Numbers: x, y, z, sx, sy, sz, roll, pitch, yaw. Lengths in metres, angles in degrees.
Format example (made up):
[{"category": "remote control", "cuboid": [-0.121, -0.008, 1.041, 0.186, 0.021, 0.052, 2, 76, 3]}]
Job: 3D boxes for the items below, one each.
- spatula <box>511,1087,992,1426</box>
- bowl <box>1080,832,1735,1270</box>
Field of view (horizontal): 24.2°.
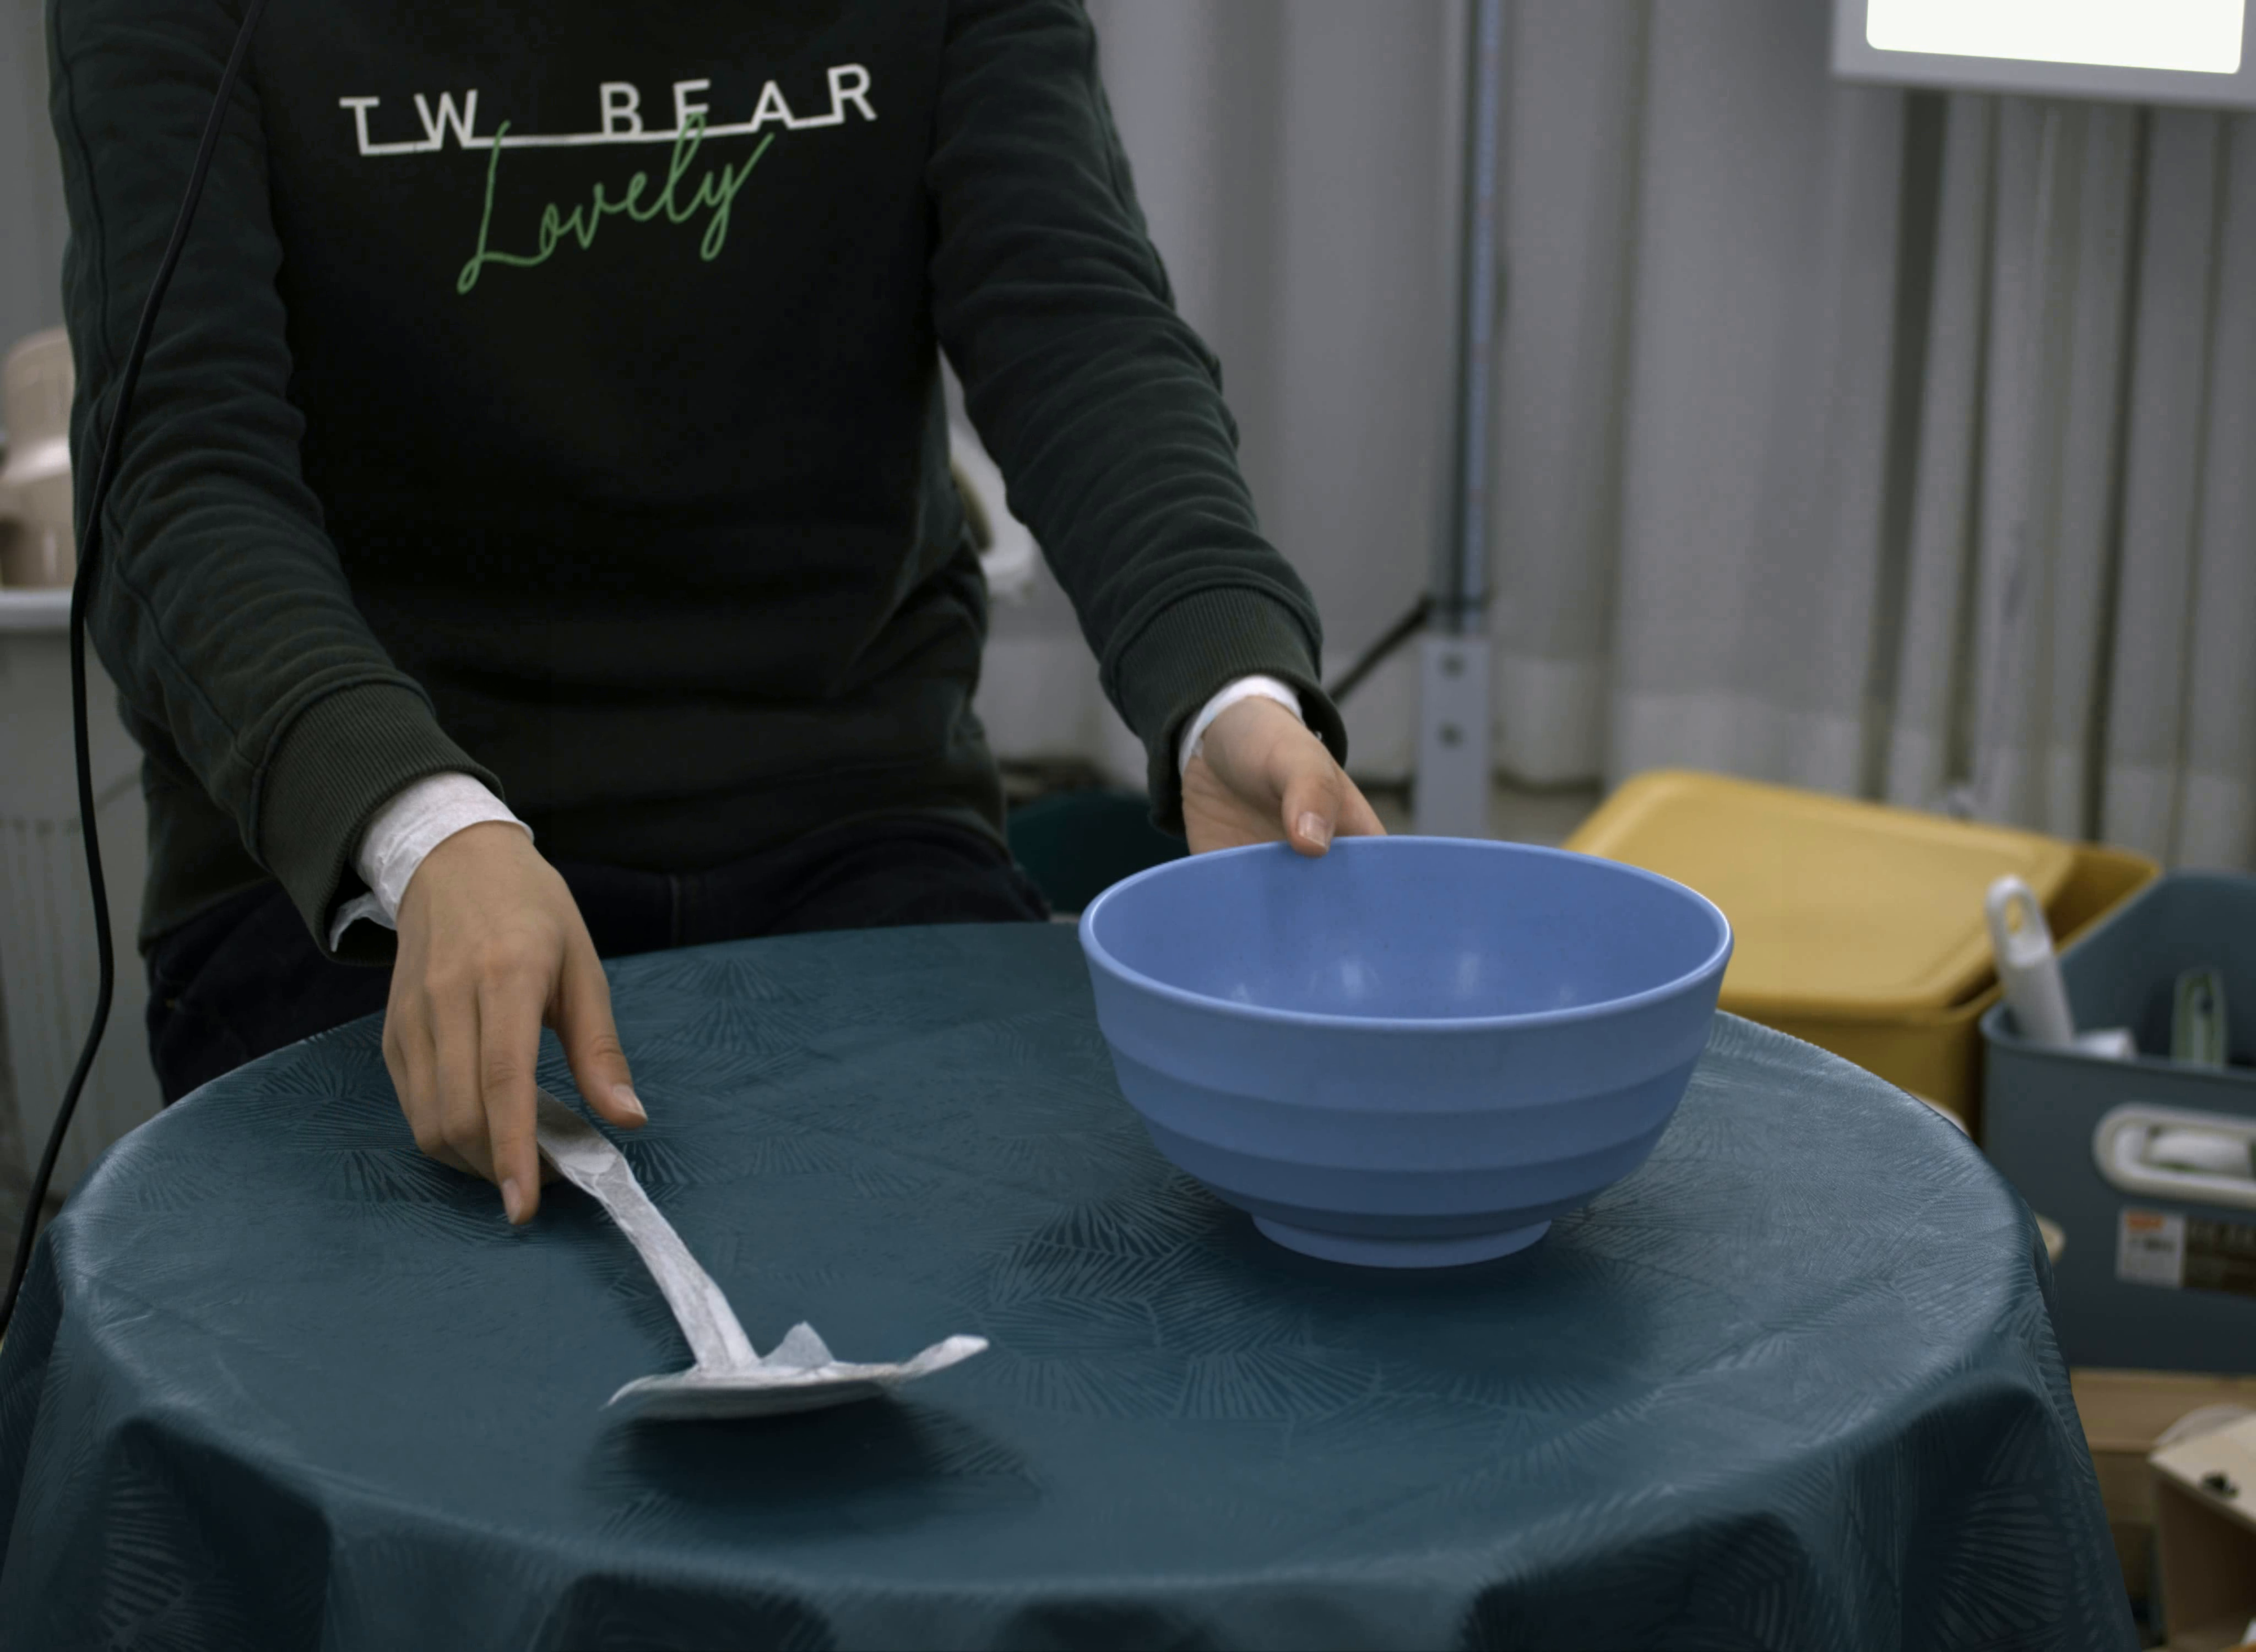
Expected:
[{"category": "spatula", "cuboid": [-0.135, 0.116, 1.538, 0.099, 0.045, 0.361, -7, 18, -19]}, {"category": "bowl", "cuboid": [0.084, 0.074, 1.592, 0.196, 0.096, 0.195, 0, 17, 1]}]
